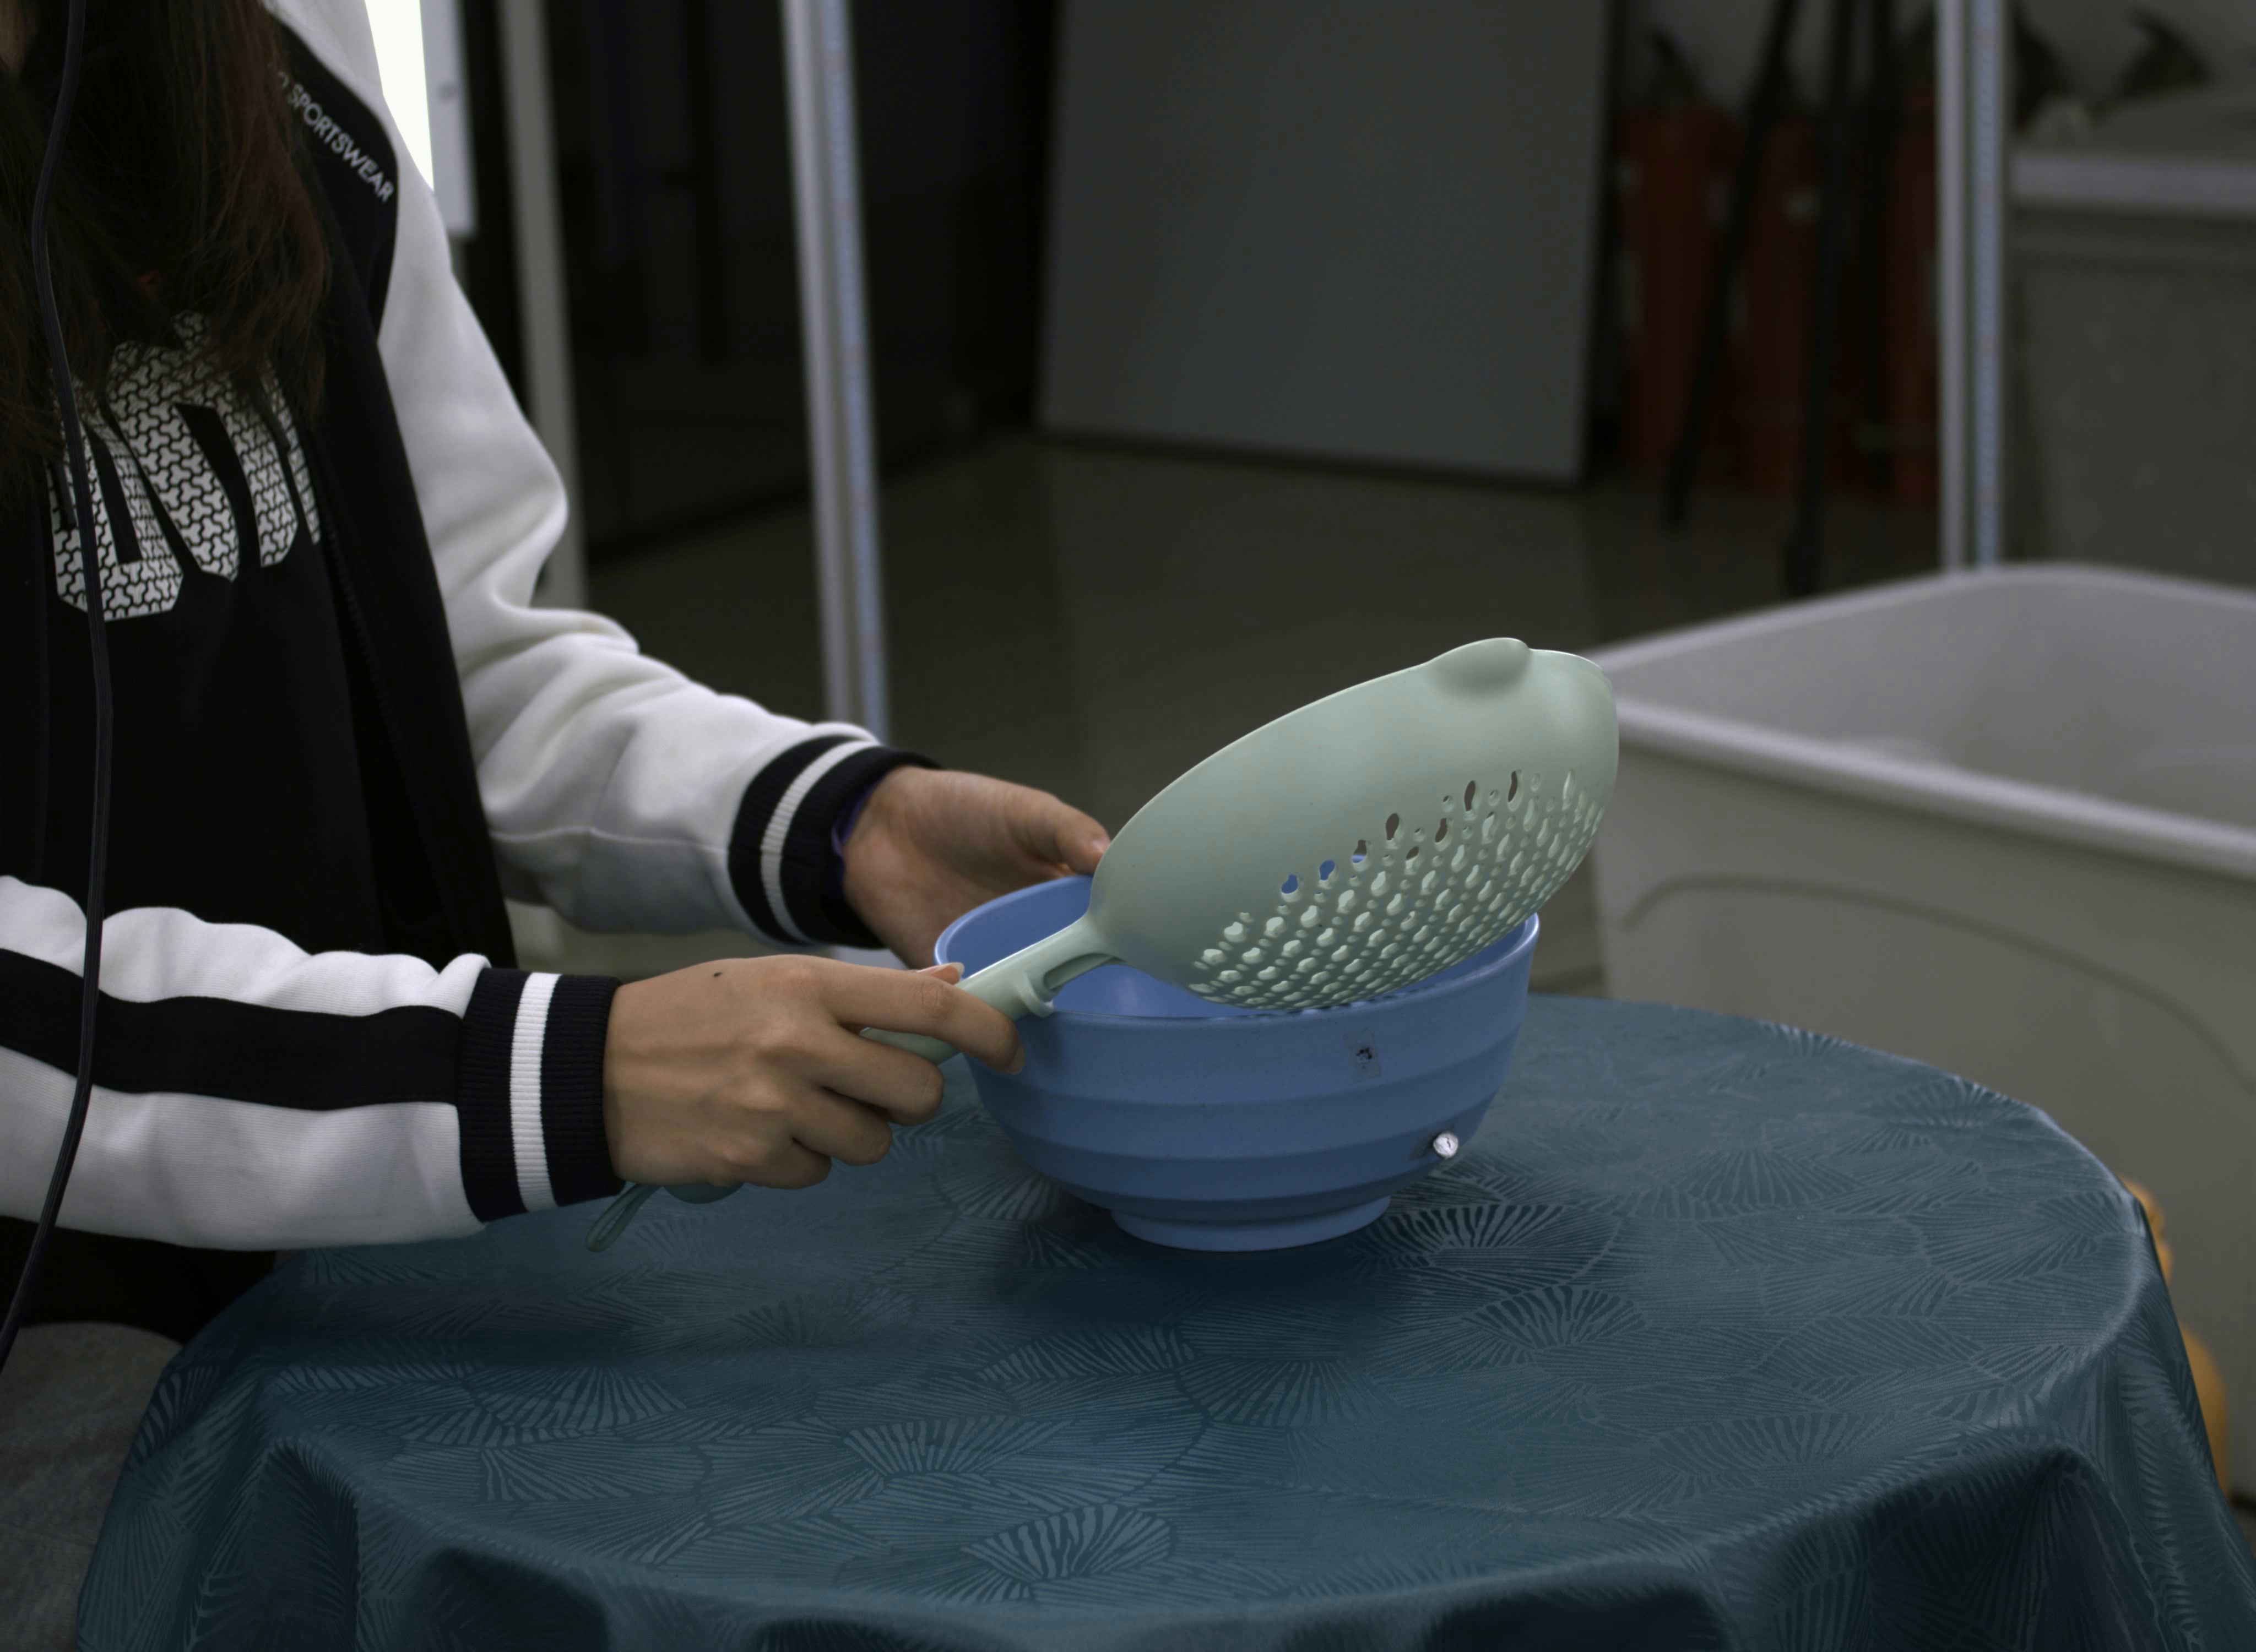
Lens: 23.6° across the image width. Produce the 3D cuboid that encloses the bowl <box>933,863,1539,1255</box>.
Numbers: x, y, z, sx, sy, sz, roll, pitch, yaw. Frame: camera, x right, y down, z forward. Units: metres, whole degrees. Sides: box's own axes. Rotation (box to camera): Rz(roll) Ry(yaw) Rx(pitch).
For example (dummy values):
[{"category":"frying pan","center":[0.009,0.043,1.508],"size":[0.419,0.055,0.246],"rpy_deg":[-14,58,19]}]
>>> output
[{"category":"bowl","center":[0.037,0.078,1.734],"size":[0.194,0.096,0.197],"rpy_deg":[-4,14,0]}]

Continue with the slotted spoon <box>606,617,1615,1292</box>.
[{"category":"slotted spoon","center":[-0.011,0.045,1.638],"size":[0.358,0.076,0.167],"rpy_deg":[-22,-21,15]}]
